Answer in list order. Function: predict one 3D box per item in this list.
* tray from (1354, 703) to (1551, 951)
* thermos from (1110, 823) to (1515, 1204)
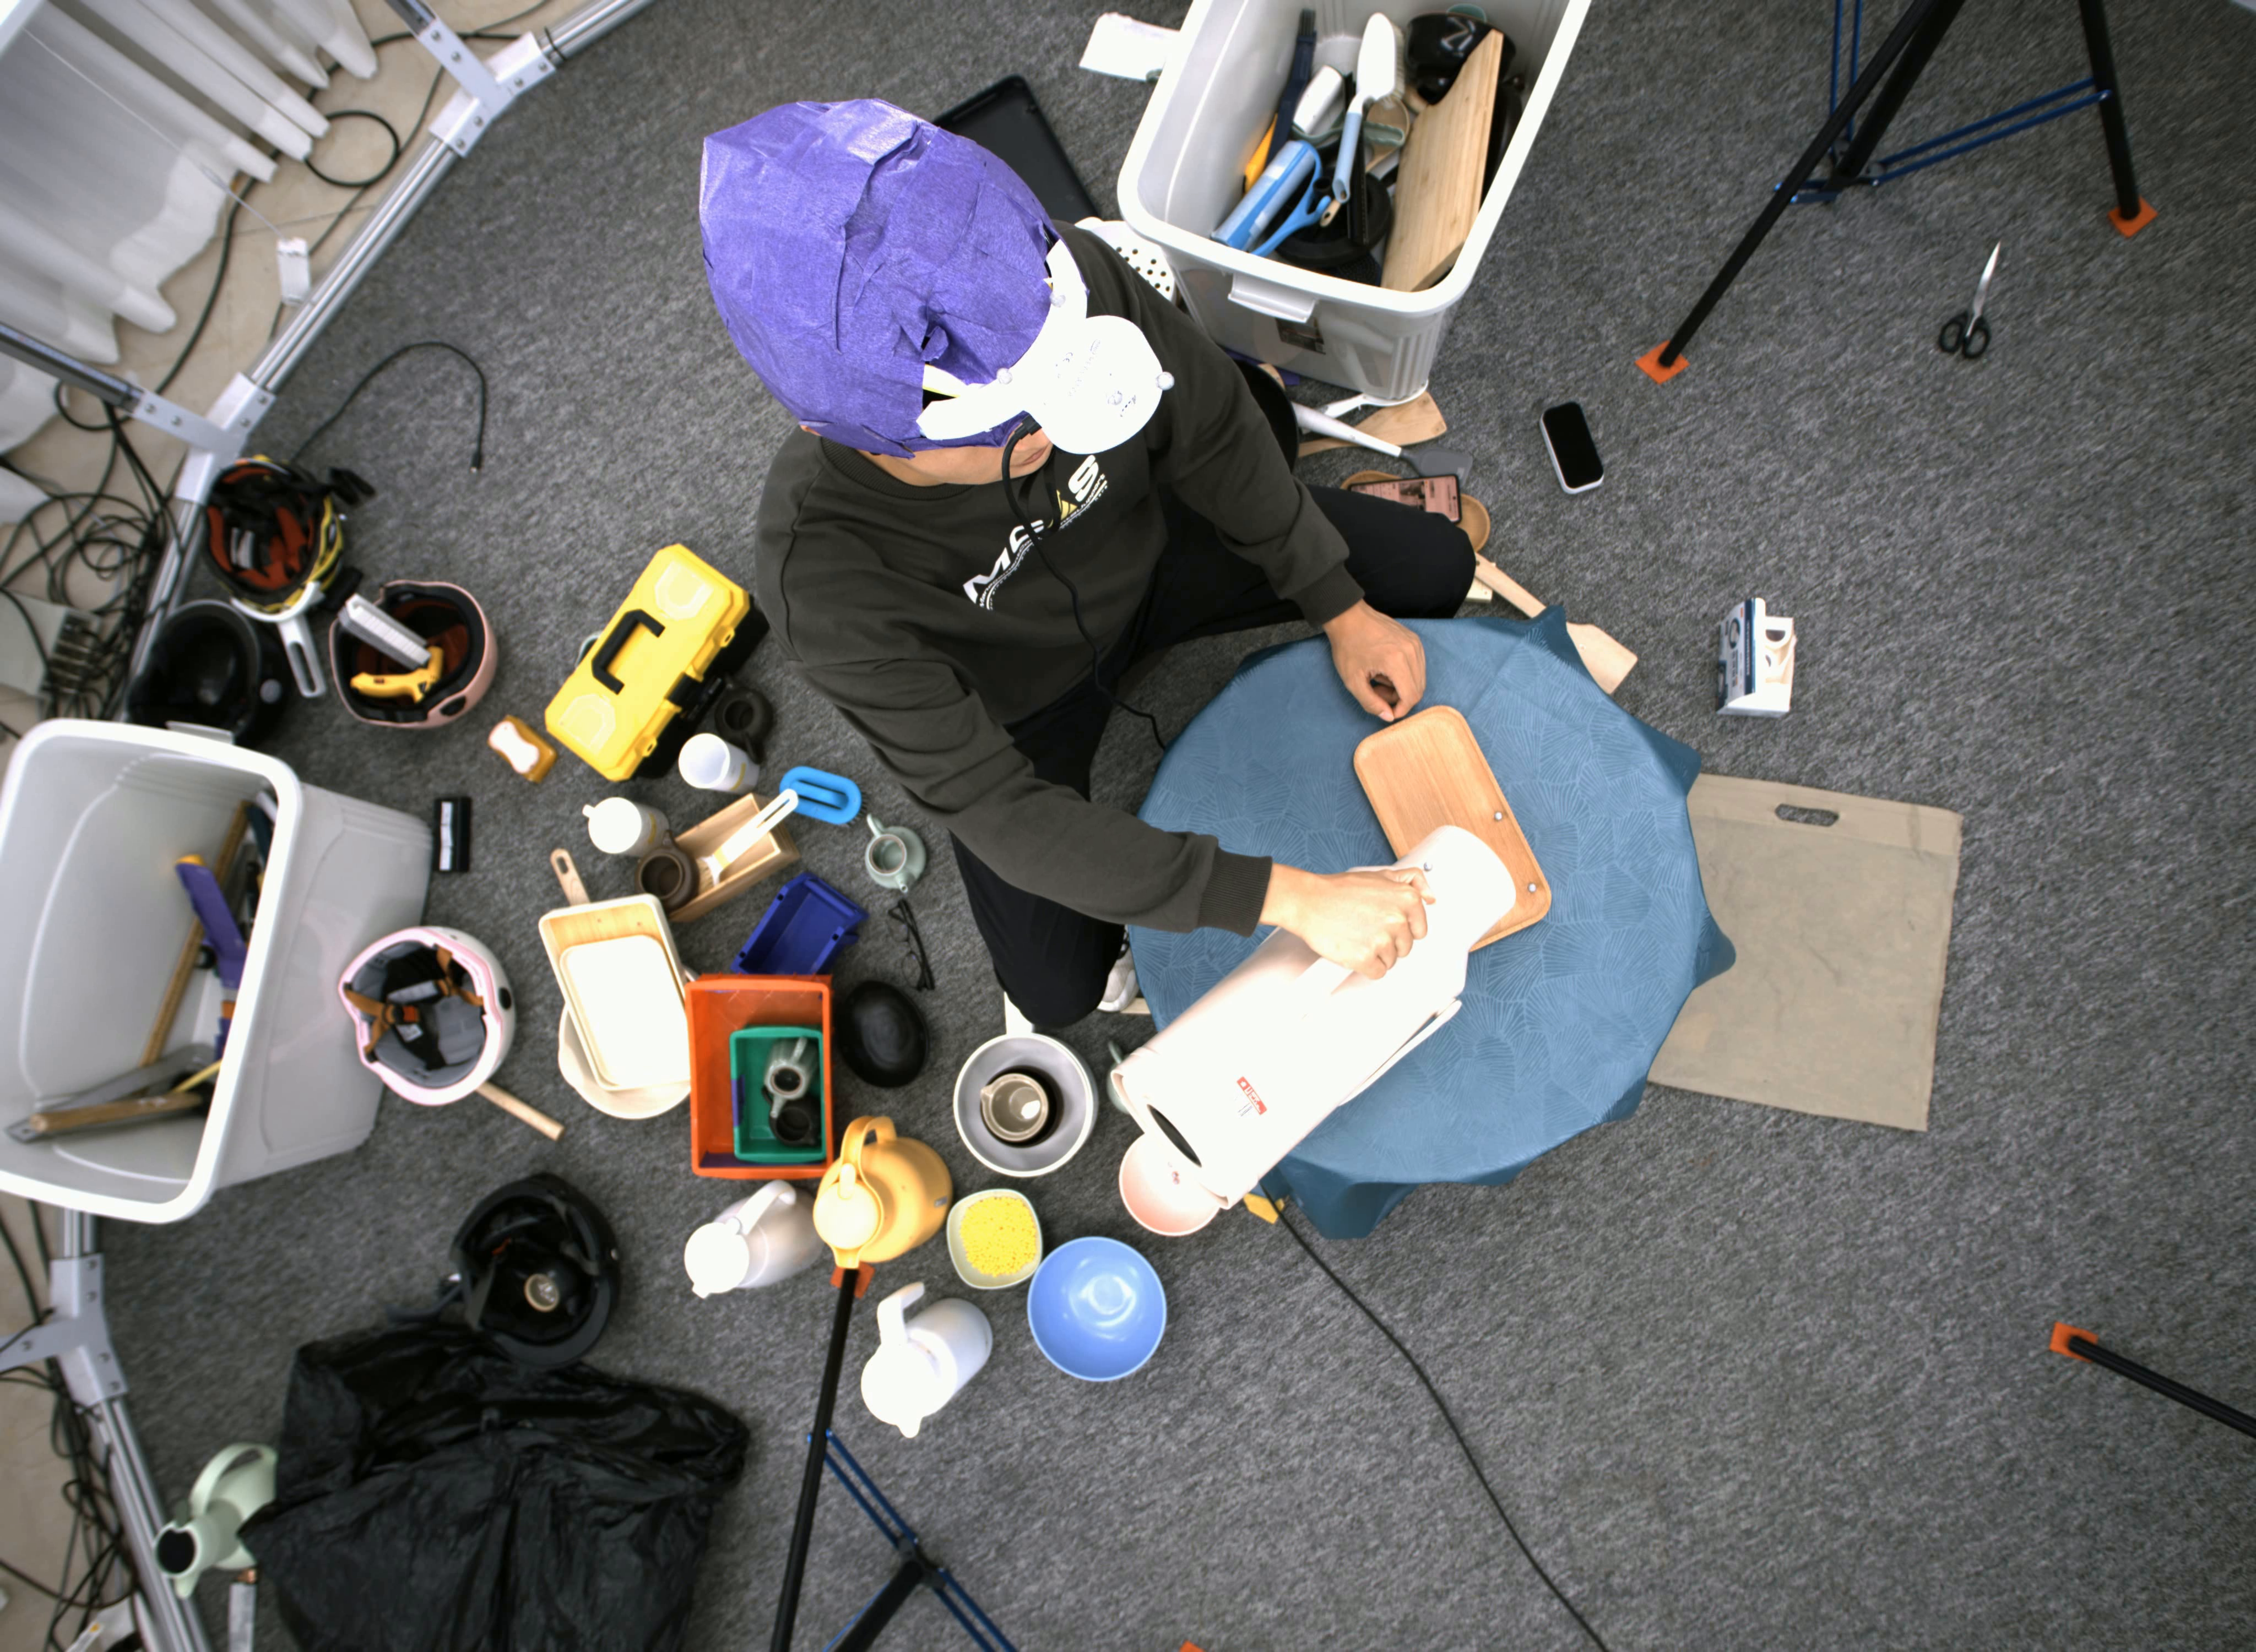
[{"bbox_3d":[0.339,-0.001,1.443,0.131,0.023,0.249,-24,82,6],"label":"tray"},{"bbox_3d":[0.182,0.150,1.268,0.402,0.211,0.174,-38,71,-14],"label":"thermos"}]
